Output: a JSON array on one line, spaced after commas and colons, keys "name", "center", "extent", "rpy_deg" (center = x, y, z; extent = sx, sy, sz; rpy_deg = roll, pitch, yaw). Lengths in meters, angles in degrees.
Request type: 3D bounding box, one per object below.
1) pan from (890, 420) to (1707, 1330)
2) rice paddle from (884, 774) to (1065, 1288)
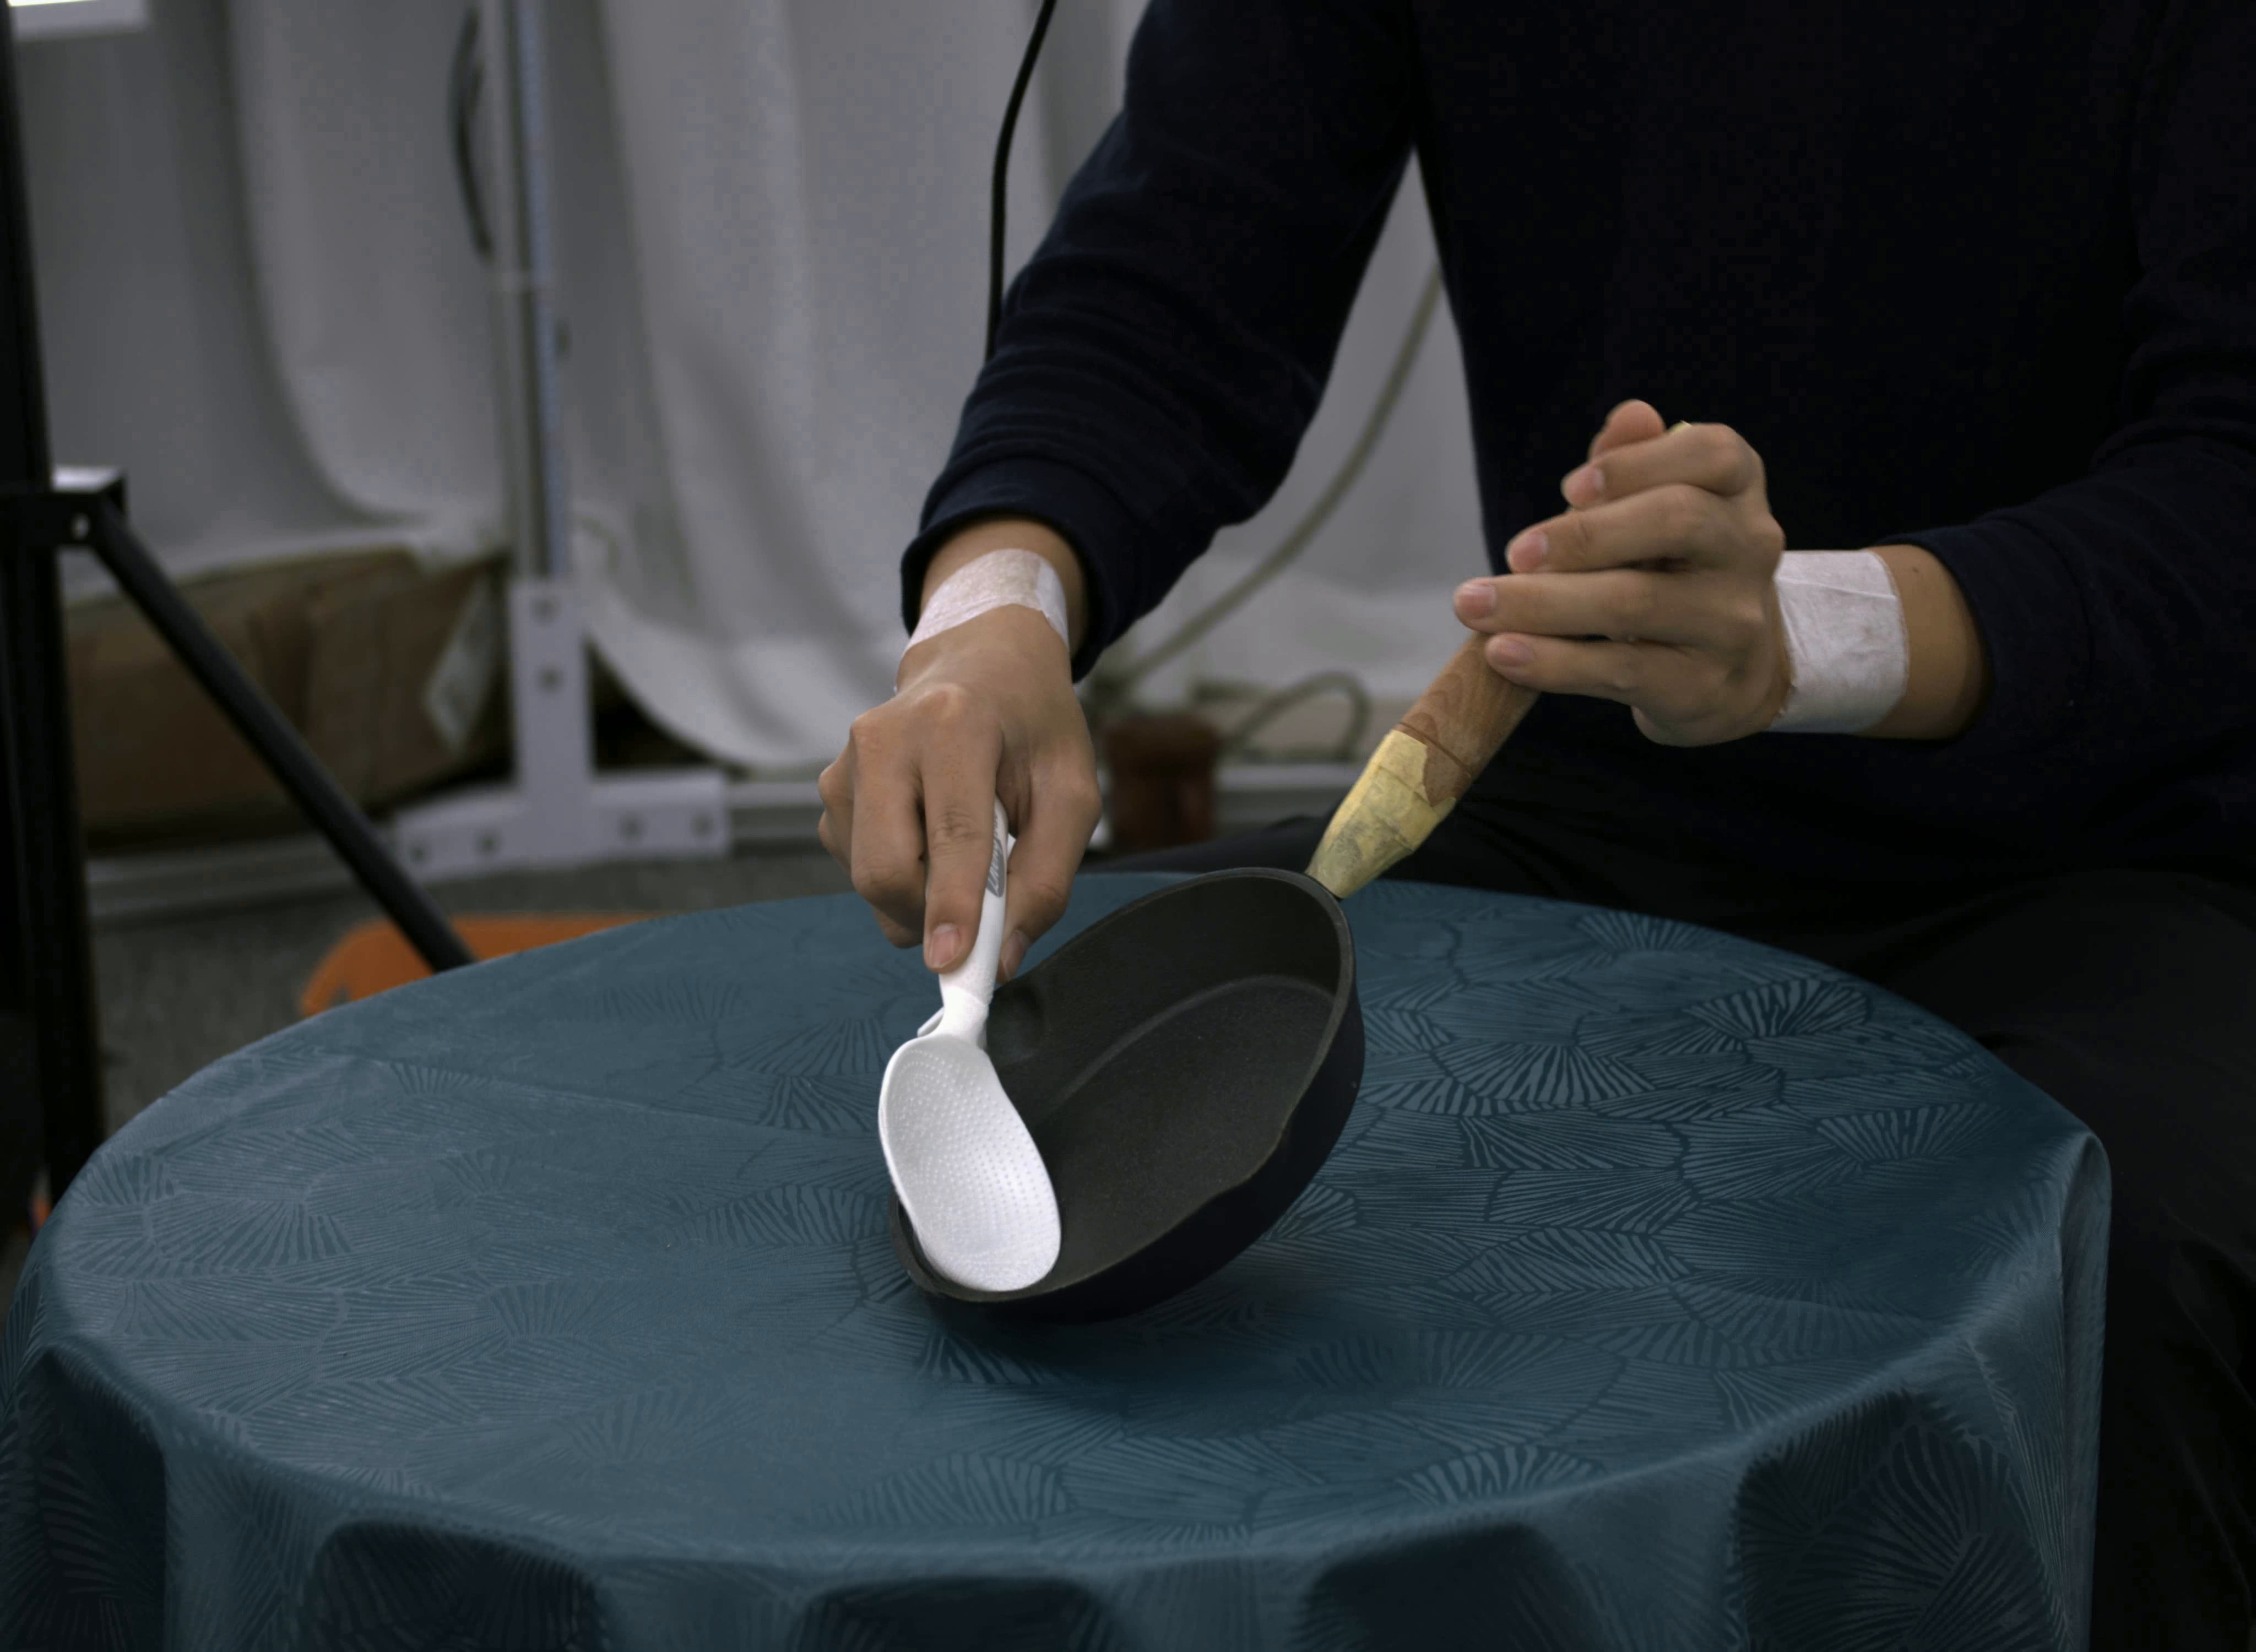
[{"name": "pan", "center": [0.060, 0.016, 1.479], "extent": [0.323, 0.049, 0.172], "rpy_deg": [-46, 28, -6]}, {"name": "rice paddle", "center": [-0.046, 0.059, 1.516], "extent": [0.067, 0.029, 0.207], "rpy_deg": [35, 27, -27]}]
